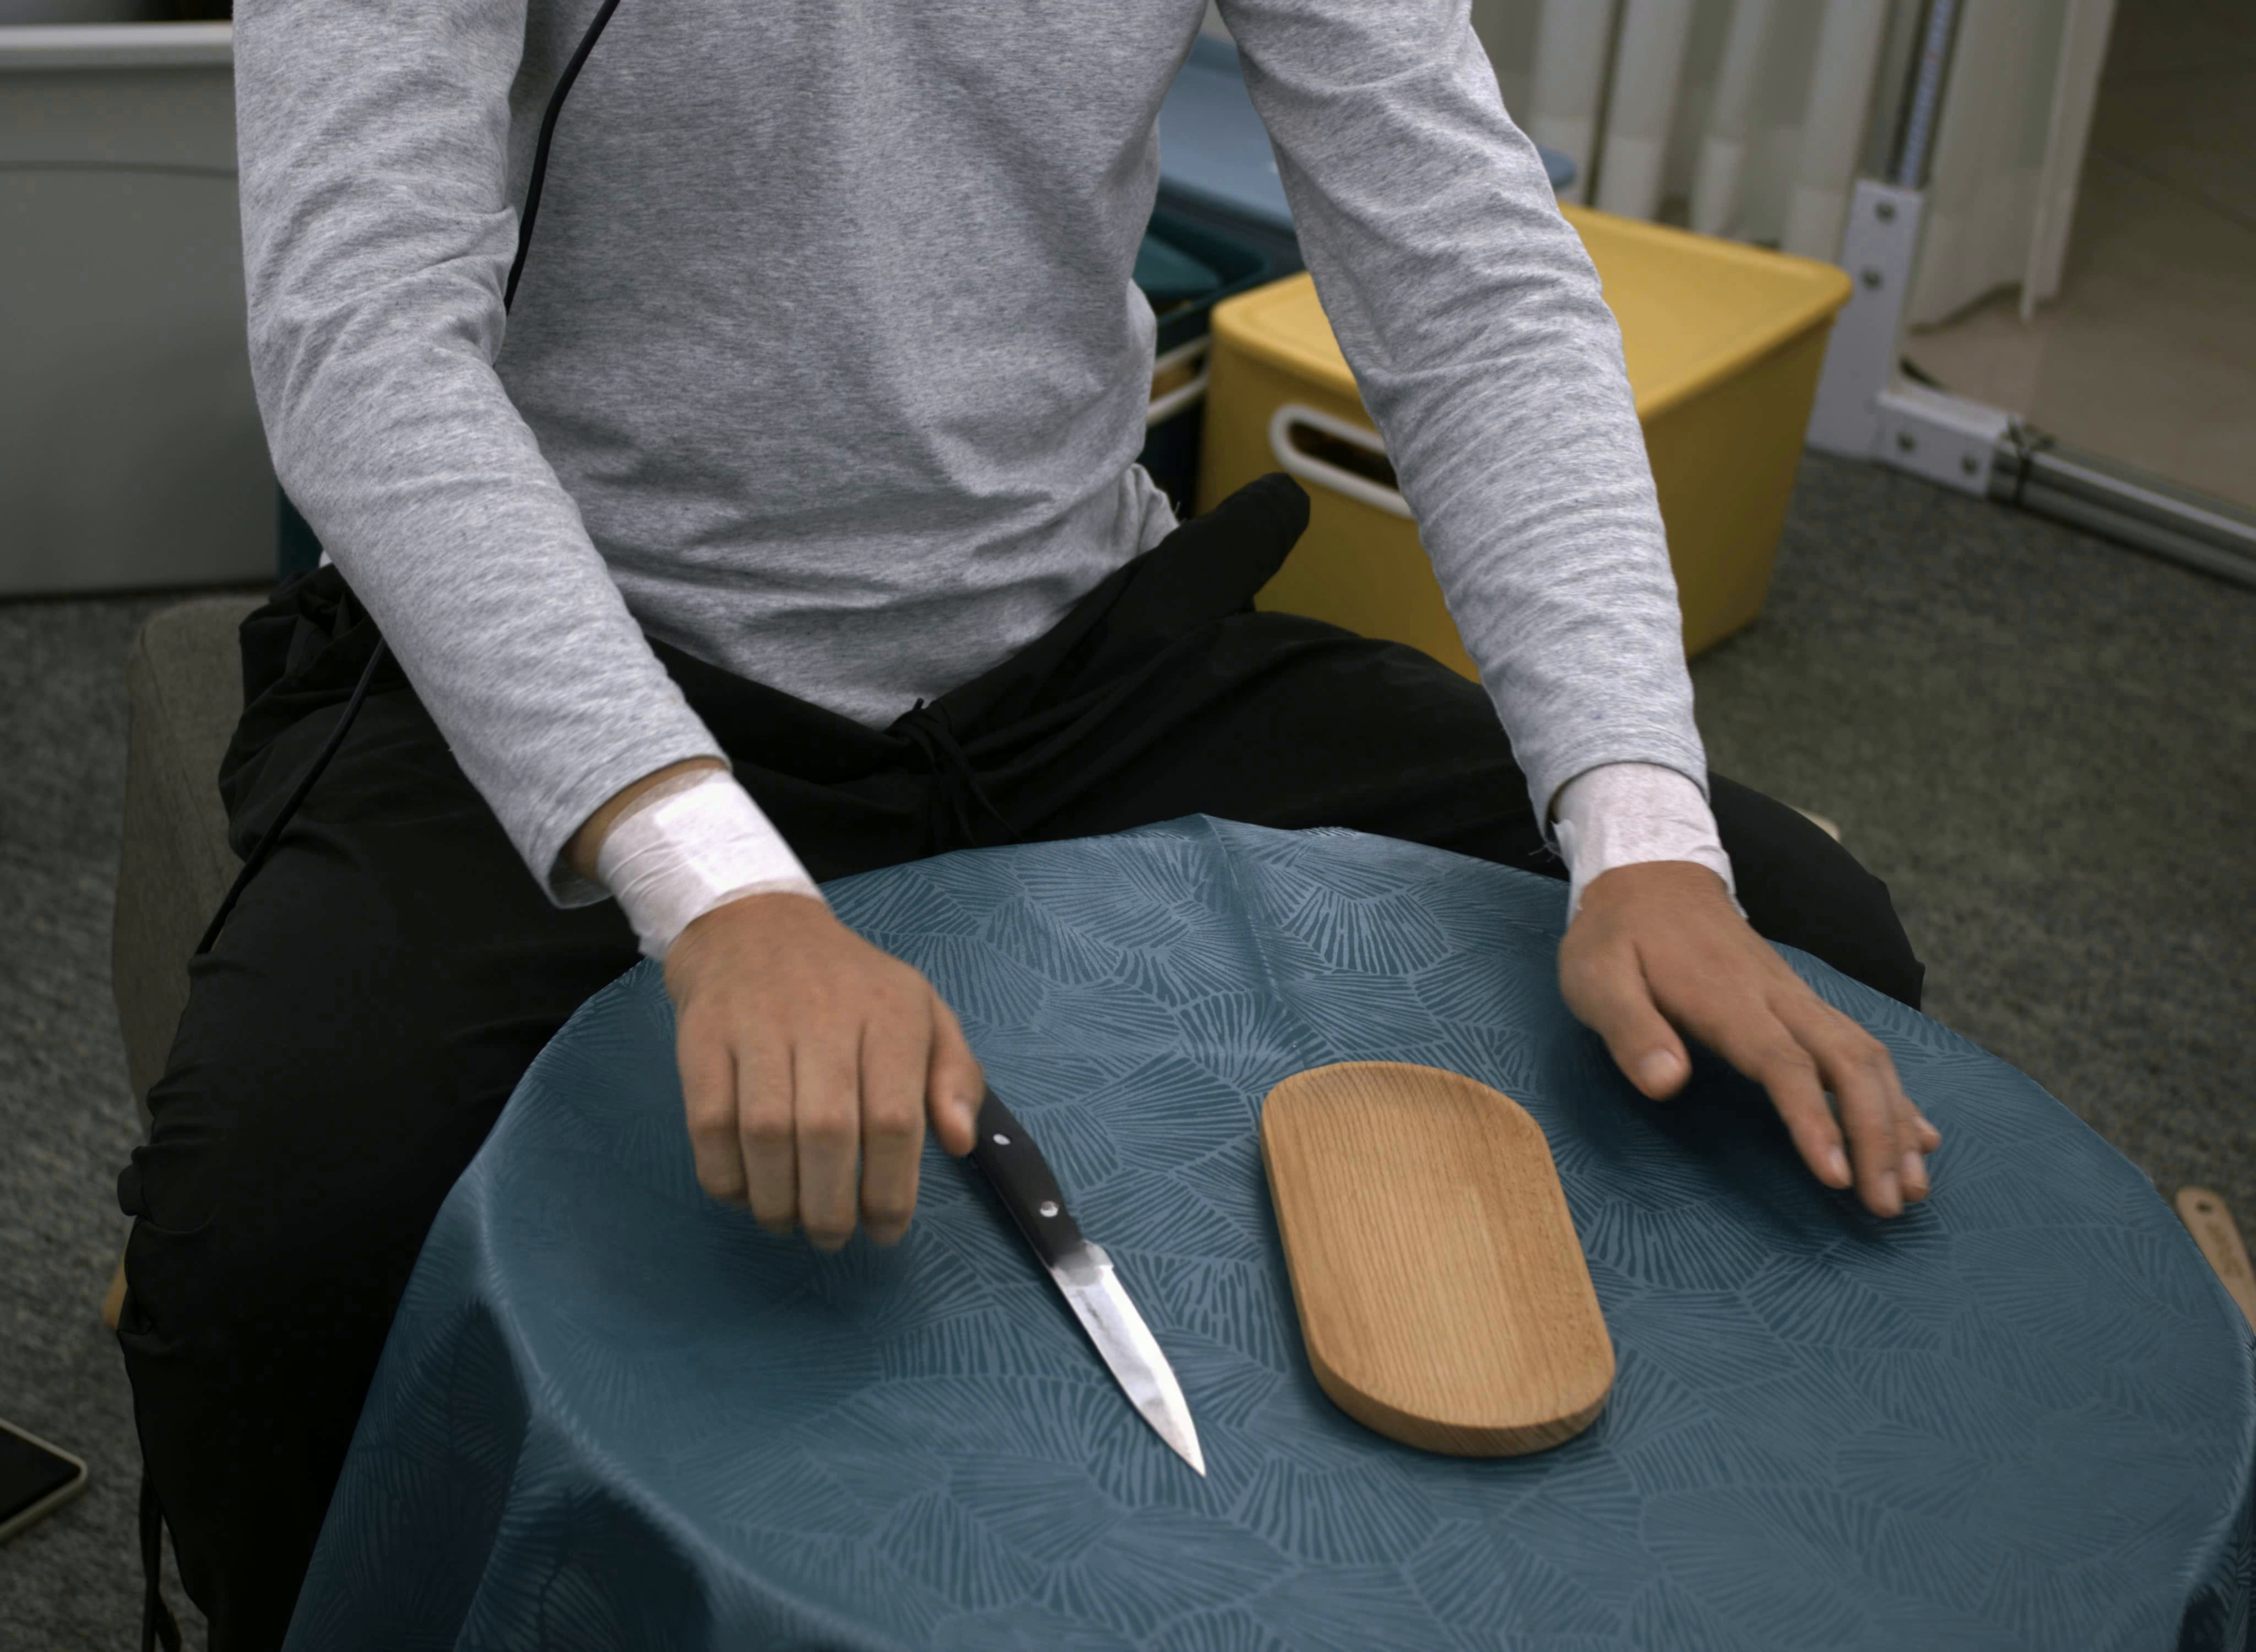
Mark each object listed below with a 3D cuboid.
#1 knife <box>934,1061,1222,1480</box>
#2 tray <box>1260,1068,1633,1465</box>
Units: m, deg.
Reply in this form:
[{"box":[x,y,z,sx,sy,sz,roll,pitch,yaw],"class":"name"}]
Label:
[{"box":[-0.018,0.145,1.748,0.024,0.016,0.240,-3,31,-23],"class":"knife"},{"box":[0.103,0.144,1.772,0.101,0.020,0.233,1,28,-8],"class":"tray"}]
